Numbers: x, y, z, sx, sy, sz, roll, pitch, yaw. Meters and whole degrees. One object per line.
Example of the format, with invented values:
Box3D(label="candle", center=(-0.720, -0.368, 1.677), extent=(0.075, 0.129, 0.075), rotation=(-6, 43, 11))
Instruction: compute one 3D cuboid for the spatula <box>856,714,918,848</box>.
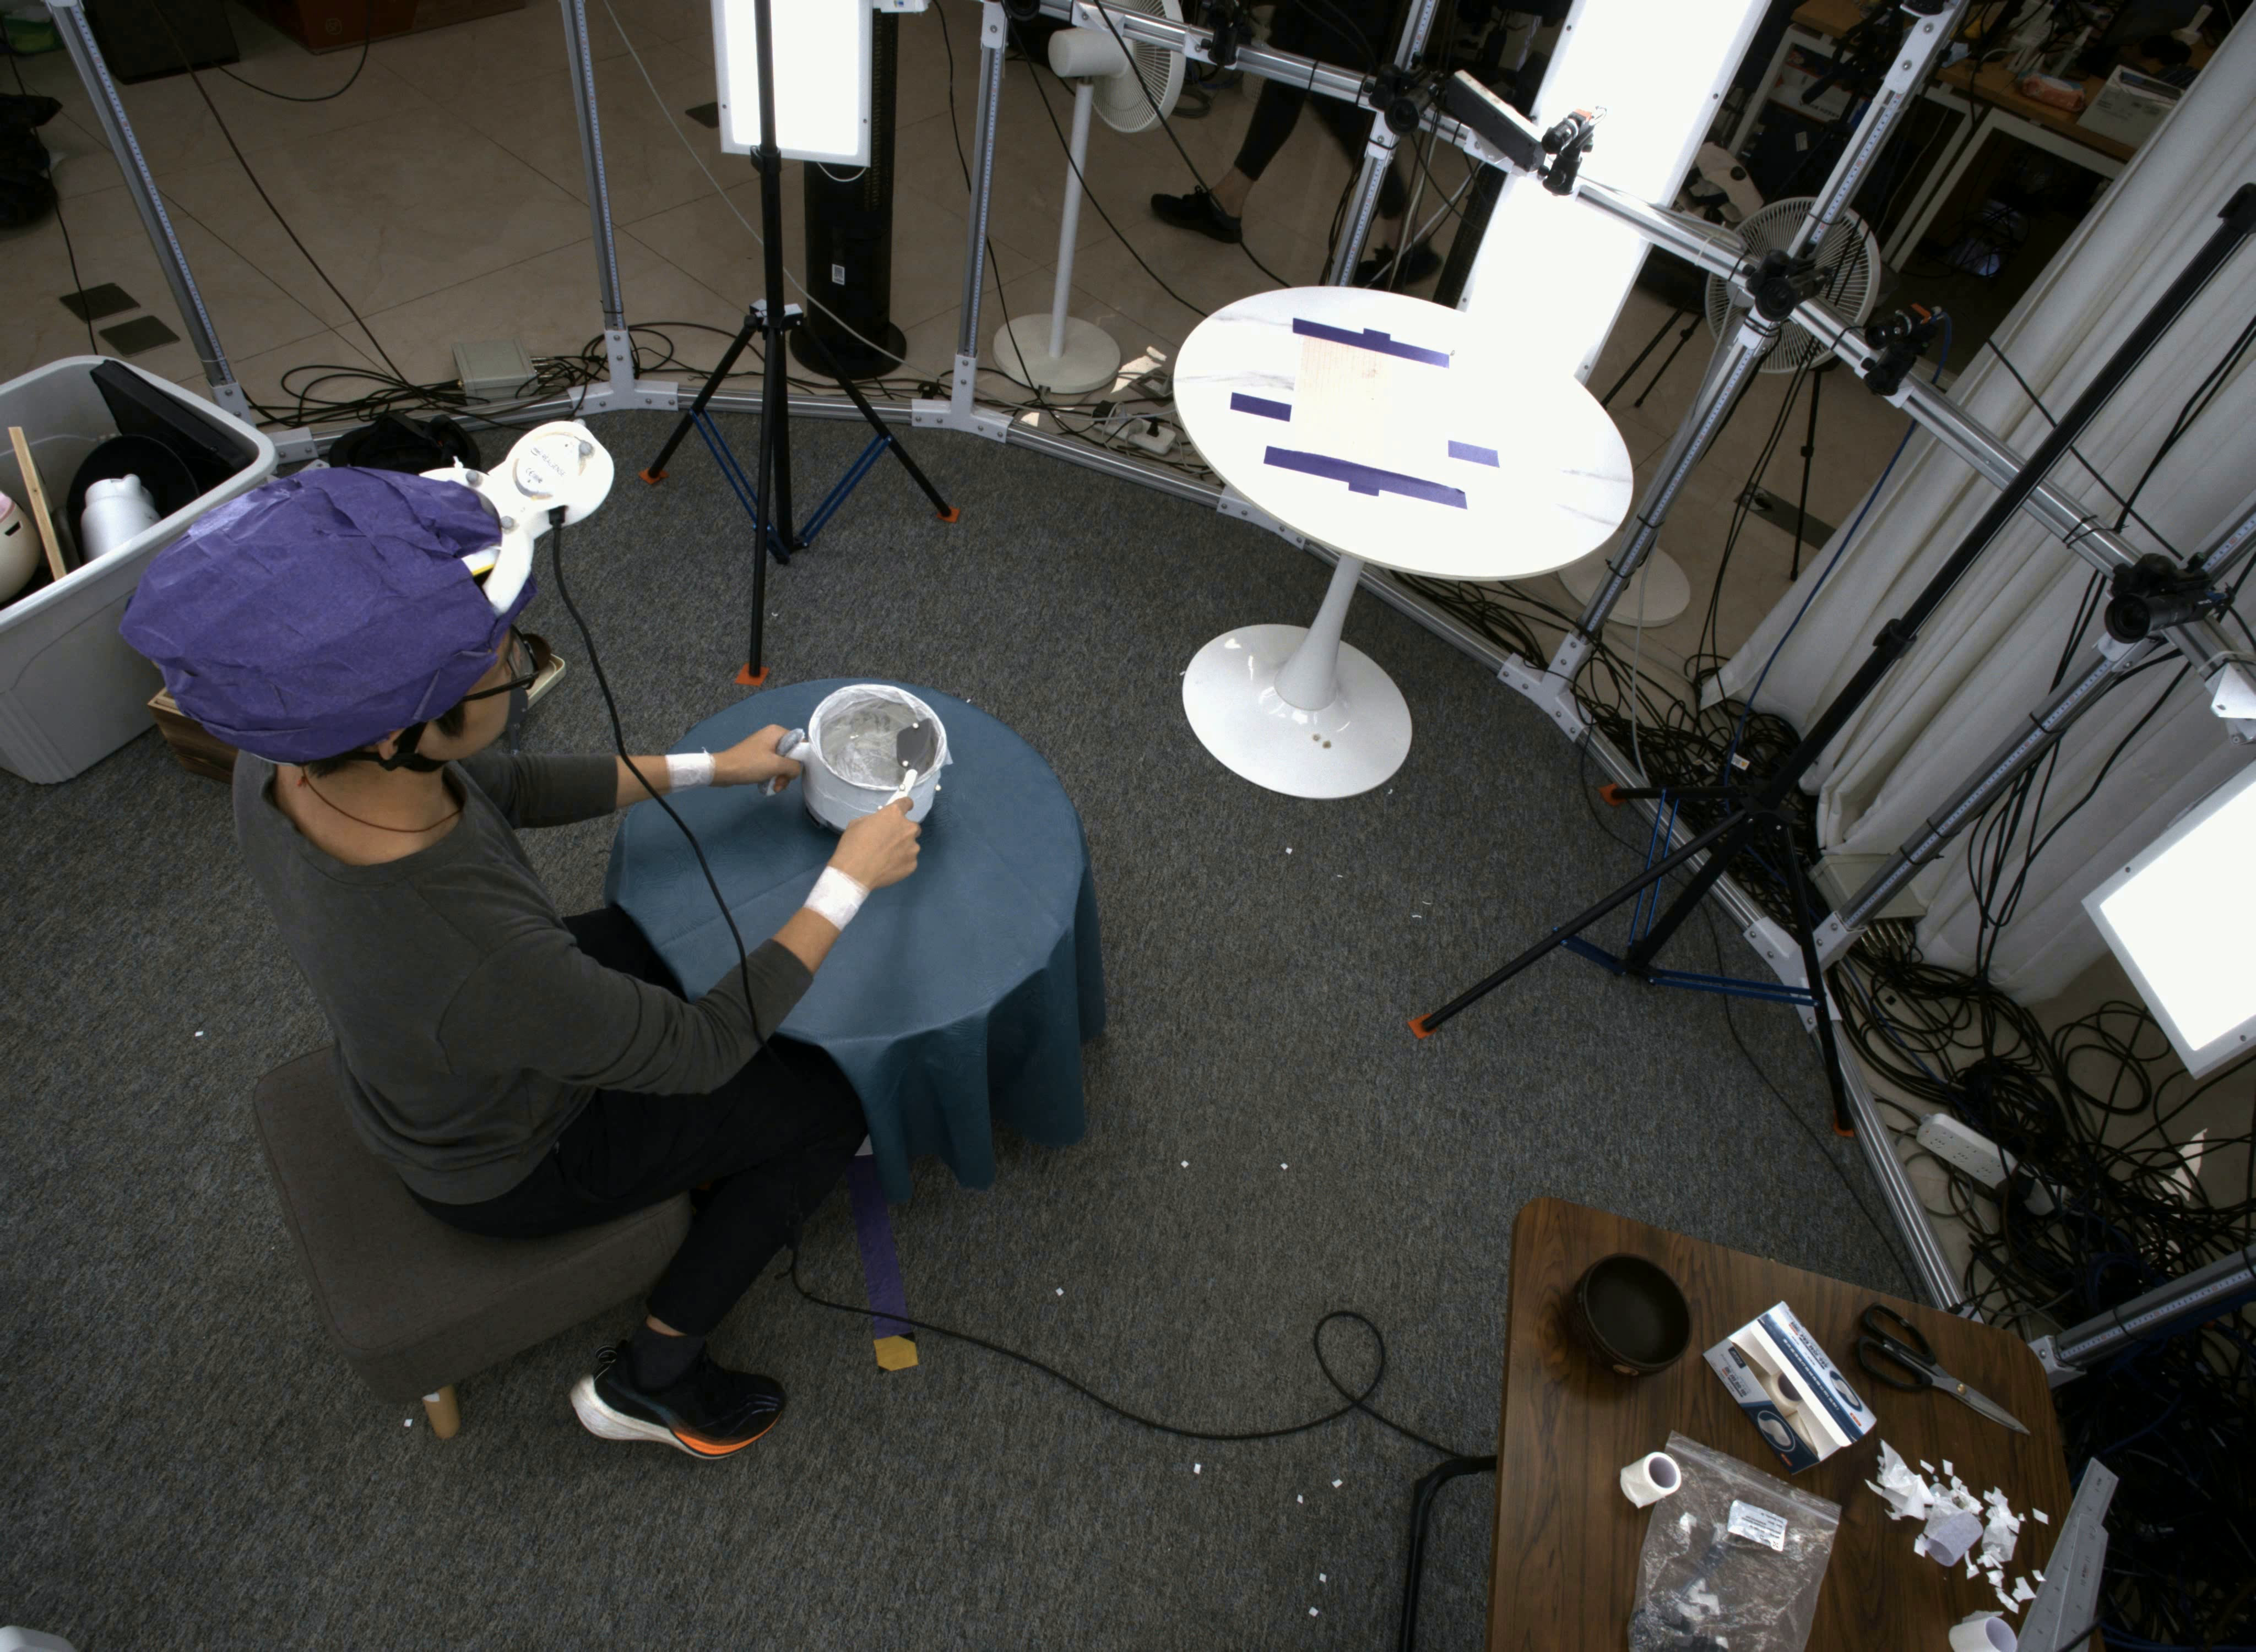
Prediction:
Box3D(label="spatula", center=(-0.298, -0.061, 1.609), extent=(0.058, 0.033, 0.281), rotation=(-27, 27, 15))

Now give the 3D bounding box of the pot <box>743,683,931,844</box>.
Box3D(label="pot", center=(-0.383, -0.078, 1.702), extent=(0.236, 0.138, 0.175), rotation=(-2, 55, -23))
